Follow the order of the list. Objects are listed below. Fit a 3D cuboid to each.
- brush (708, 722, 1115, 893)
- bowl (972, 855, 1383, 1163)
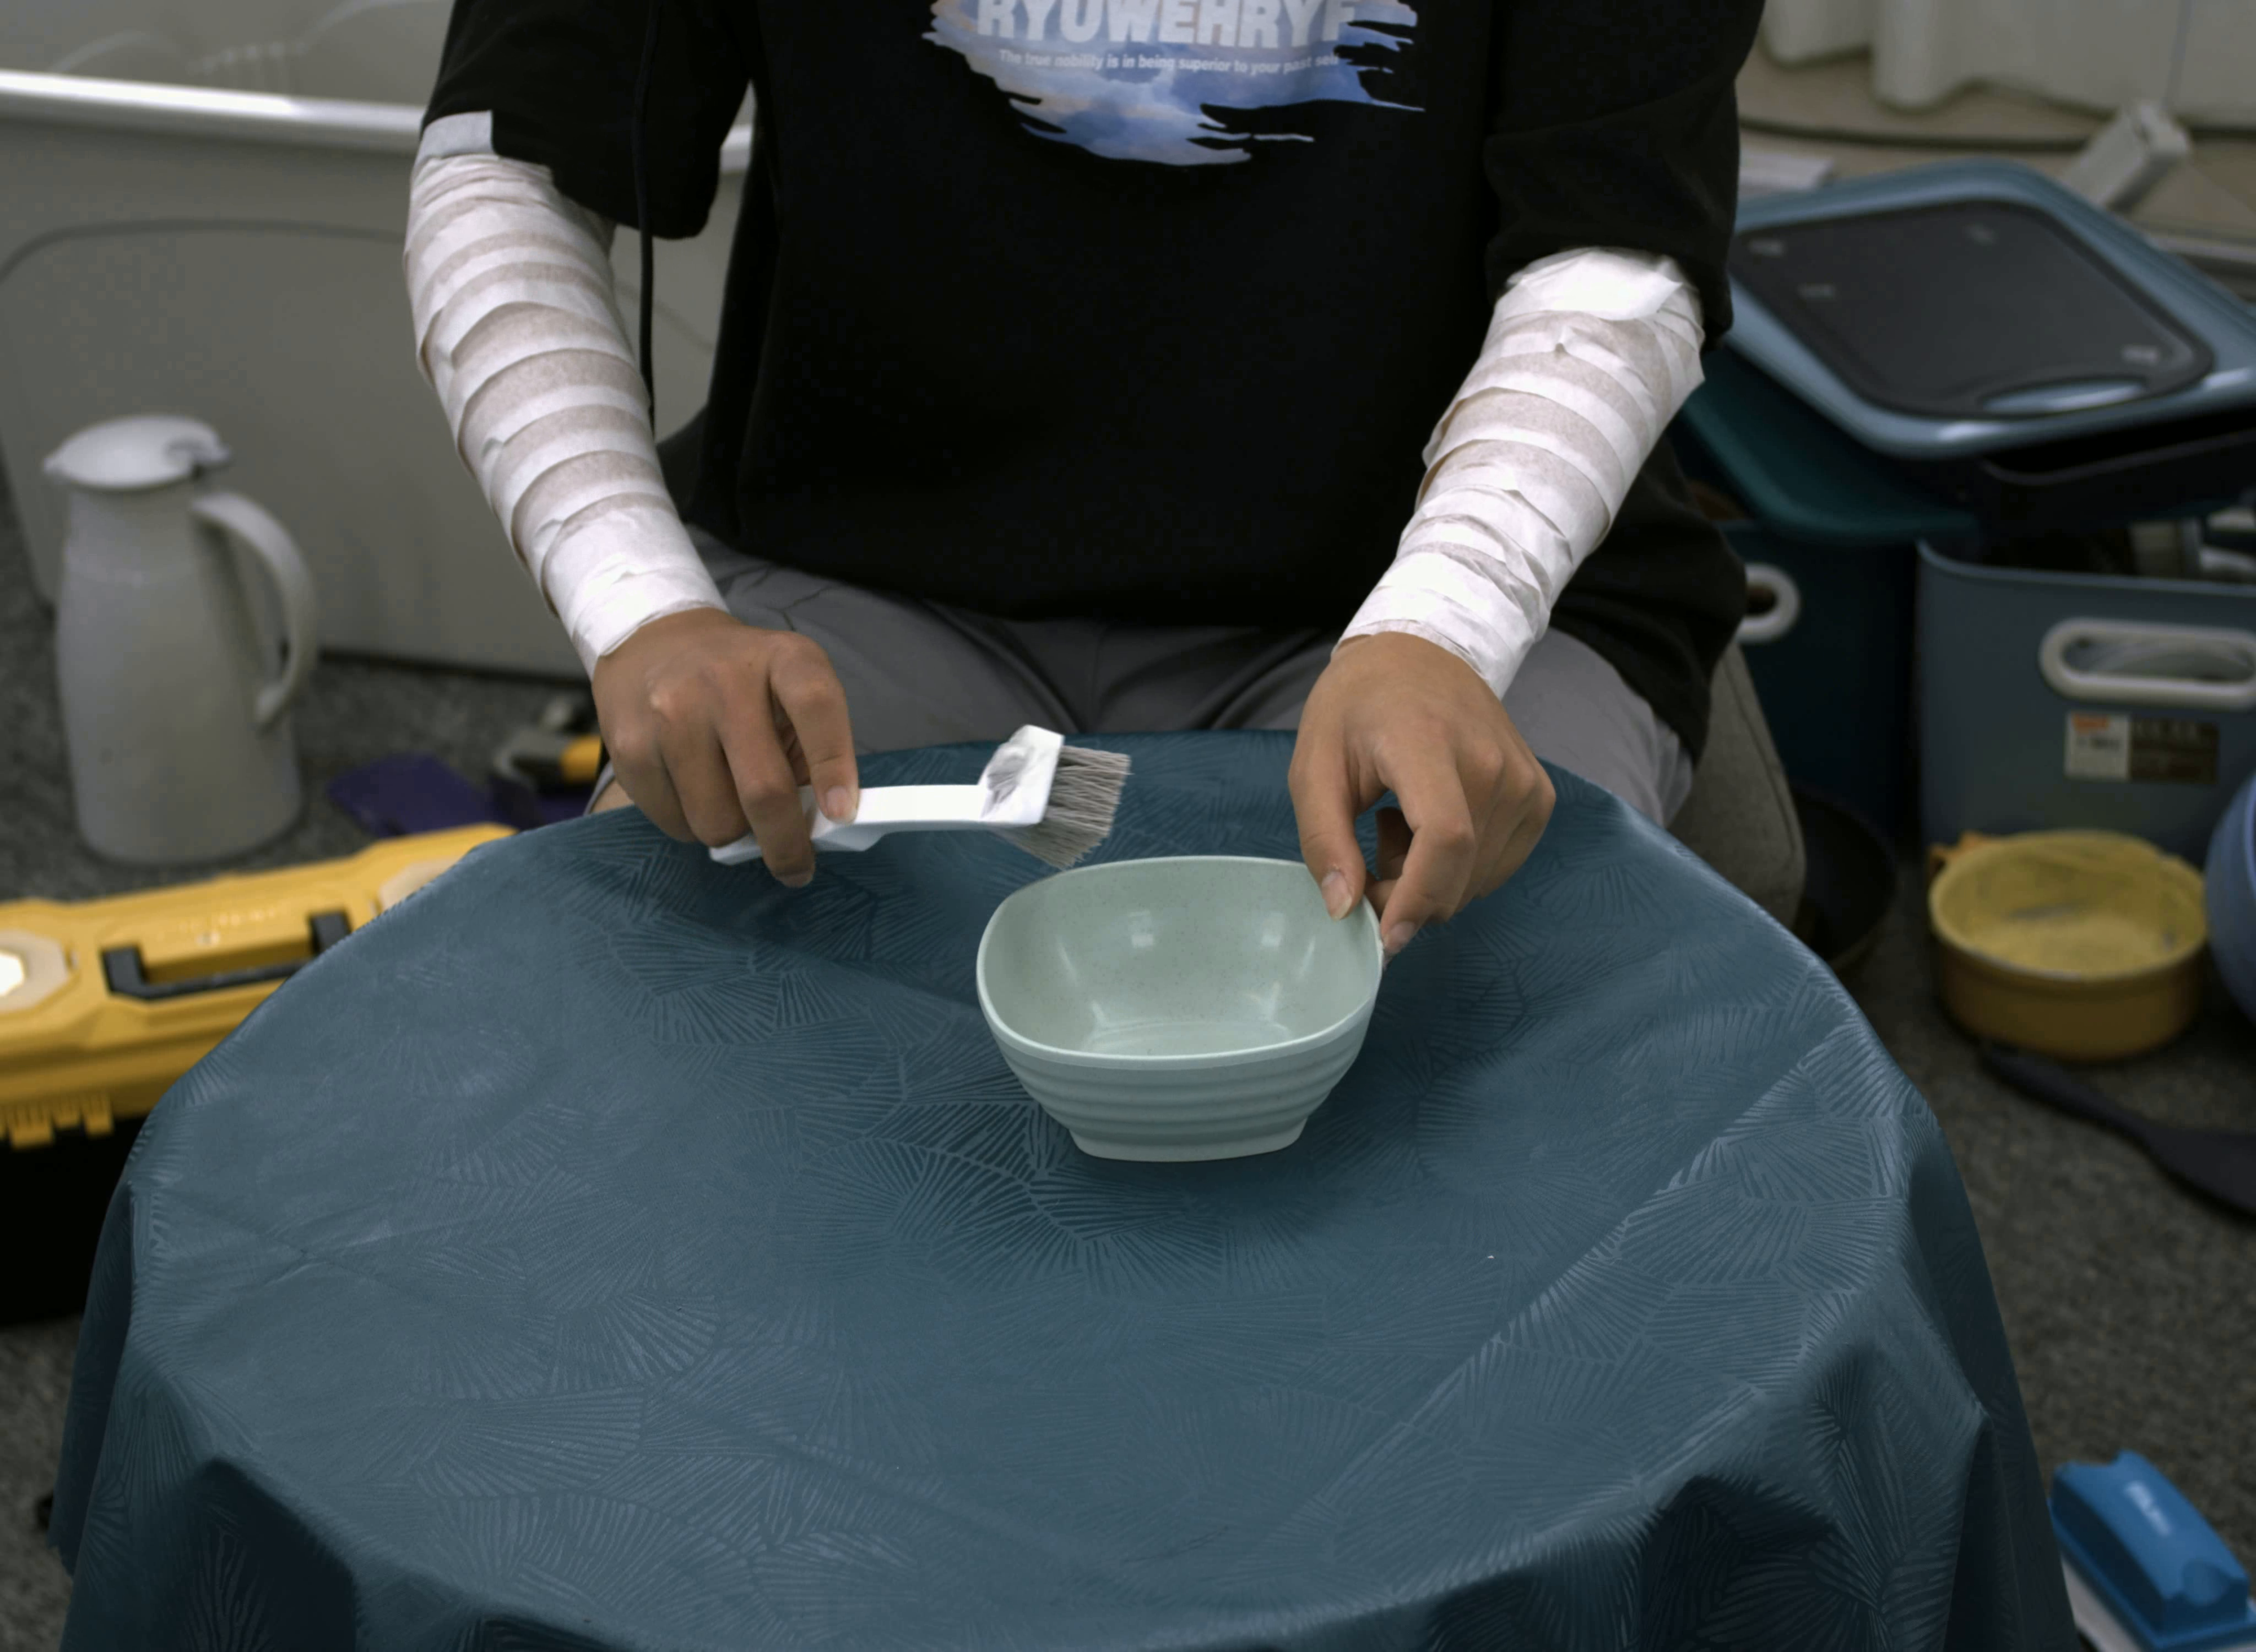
[{"bbox_3d":[-0.075,0.002,1.983,0.050,0.035,0.240,19,-19,-27],"label":"brush"},{"bbox_3d":[0.017,0.068,1.903,0.151,0.058,0.154,-1,28,1],"label":"bowl"}]
